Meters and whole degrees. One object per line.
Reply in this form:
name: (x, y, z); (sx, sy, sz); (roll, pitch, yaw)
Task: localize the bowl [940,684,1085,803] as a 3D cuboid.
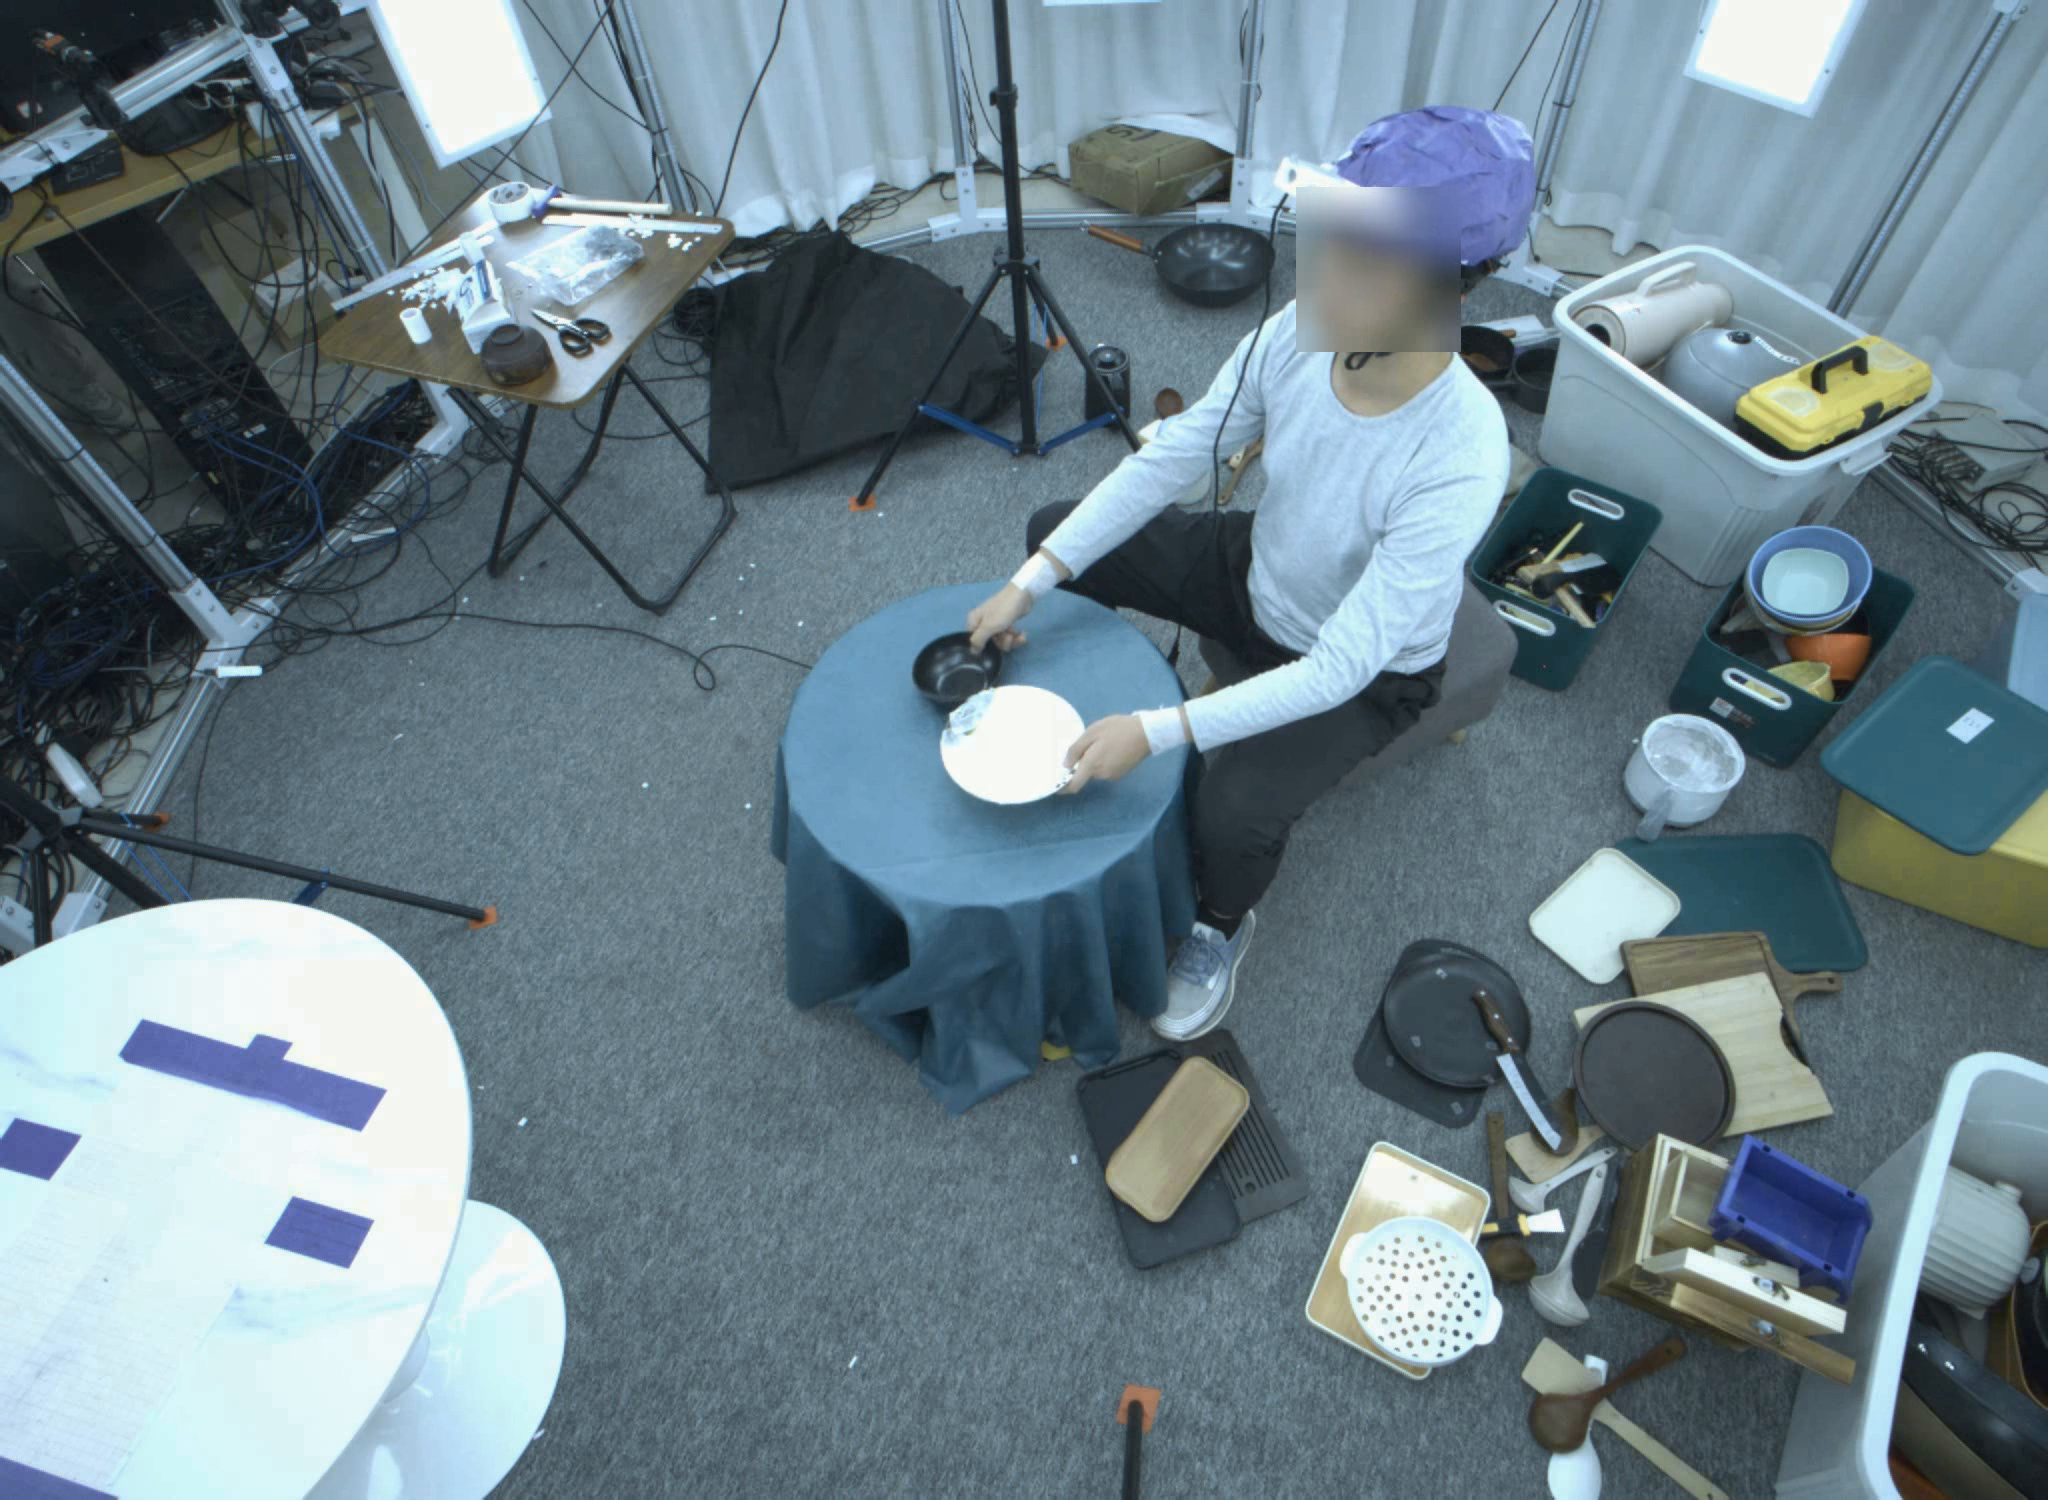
bowl: (-0.015, 0.008, 1.741); (0.204, 0.079, 0.202); (0, 55, 1)

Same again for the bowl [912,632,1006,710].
bowl: (-0.095, -0.109, 1.843); (0.140, 0.050, 0.138); (-1, 54, 2)
